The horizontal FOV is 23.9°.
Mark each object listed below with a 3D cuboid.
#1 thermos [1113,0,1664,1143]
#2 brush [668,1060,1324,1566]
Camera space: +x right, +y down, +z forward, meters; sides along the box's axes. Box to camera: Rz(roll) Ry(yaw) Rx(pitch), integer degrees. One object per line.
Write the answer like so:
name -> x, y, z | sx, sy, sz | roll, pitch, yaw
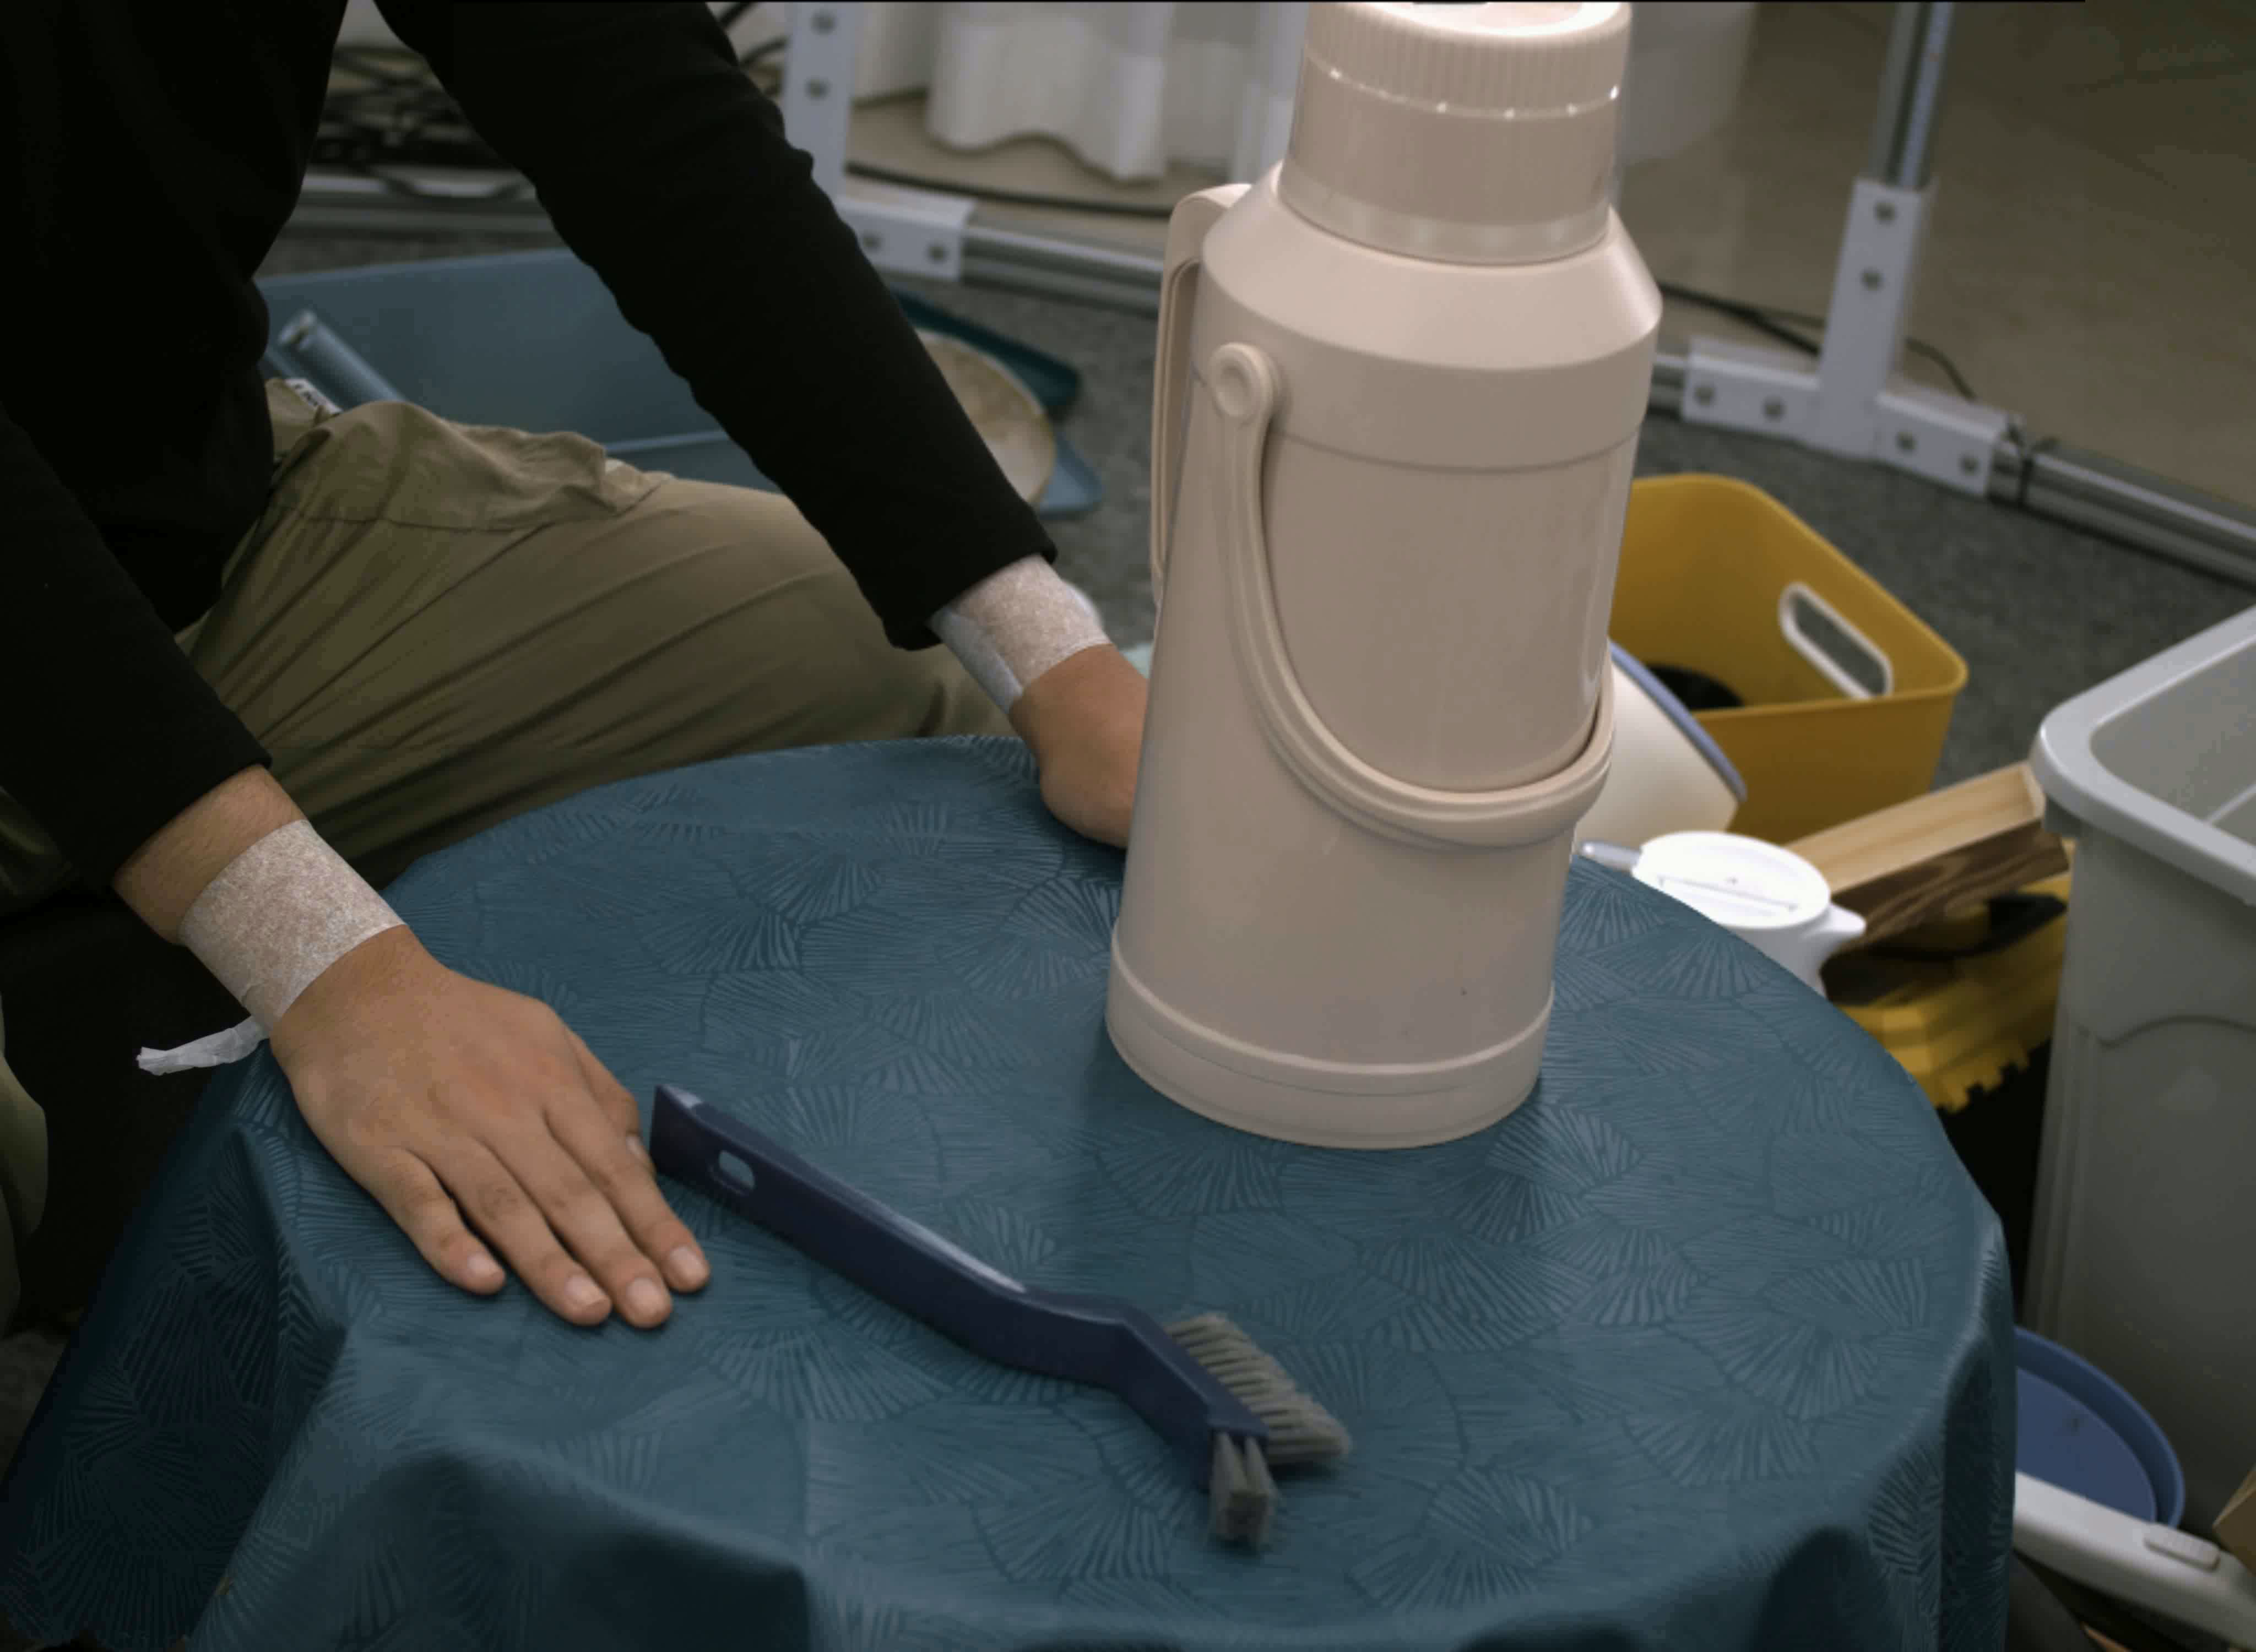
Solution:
thermos -> 0.084, -0.106, 1.836 | 0.174, 0.405, 0.209 | -19, 36, -38
brush -> -0.057, 0.151, 1.699 | 0.274, 0.033, 0.095 | 24, 30, 27
